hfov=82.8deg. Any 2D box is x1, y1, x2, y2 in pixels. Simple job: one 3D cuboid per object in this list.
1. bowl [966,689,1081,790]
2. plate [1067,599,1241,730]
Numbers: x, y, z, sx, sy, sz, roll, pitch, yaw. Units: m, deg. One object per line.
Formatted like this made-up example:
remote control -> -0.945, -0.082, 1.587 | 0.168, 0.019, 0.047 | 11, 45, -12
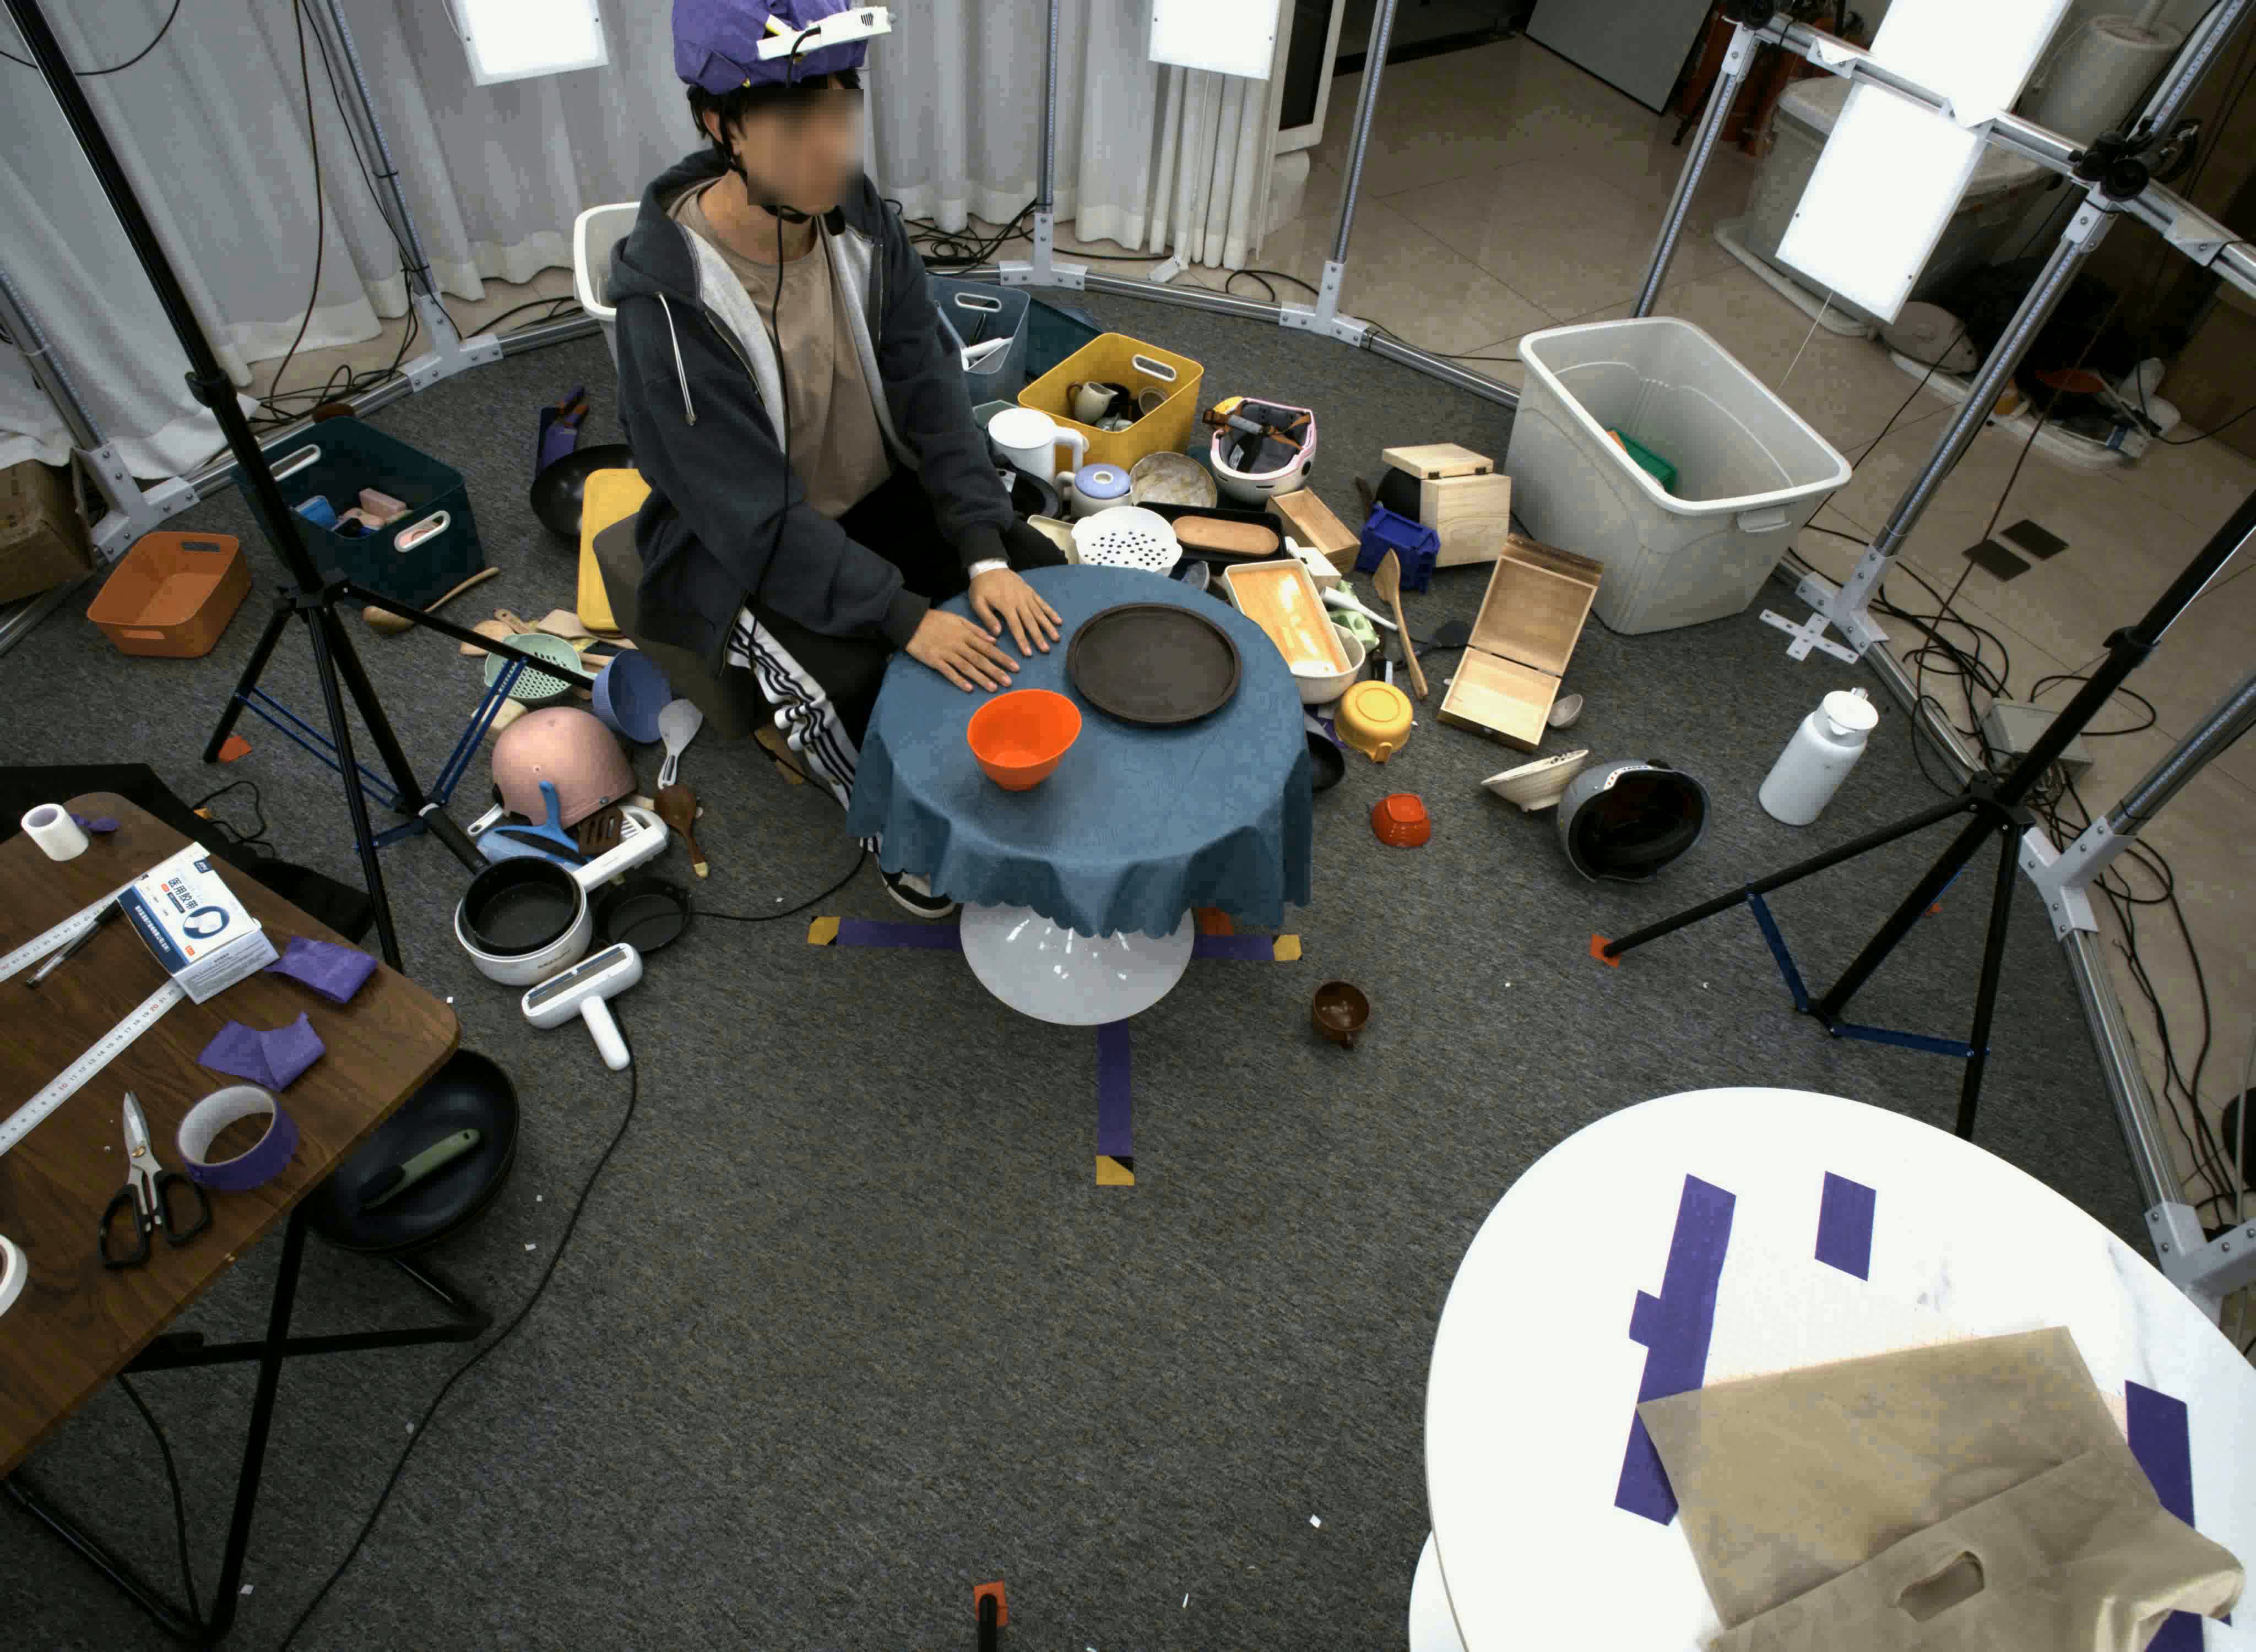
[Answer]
bowl -> -0.137, -0.101, 1.678 | 0.148, 0.102, 0.151 | 2, 51, -2
plate -> 0.037, -0.233, 1.857 | 0.254, 0.028, 0.261 | 1, 50, -2
